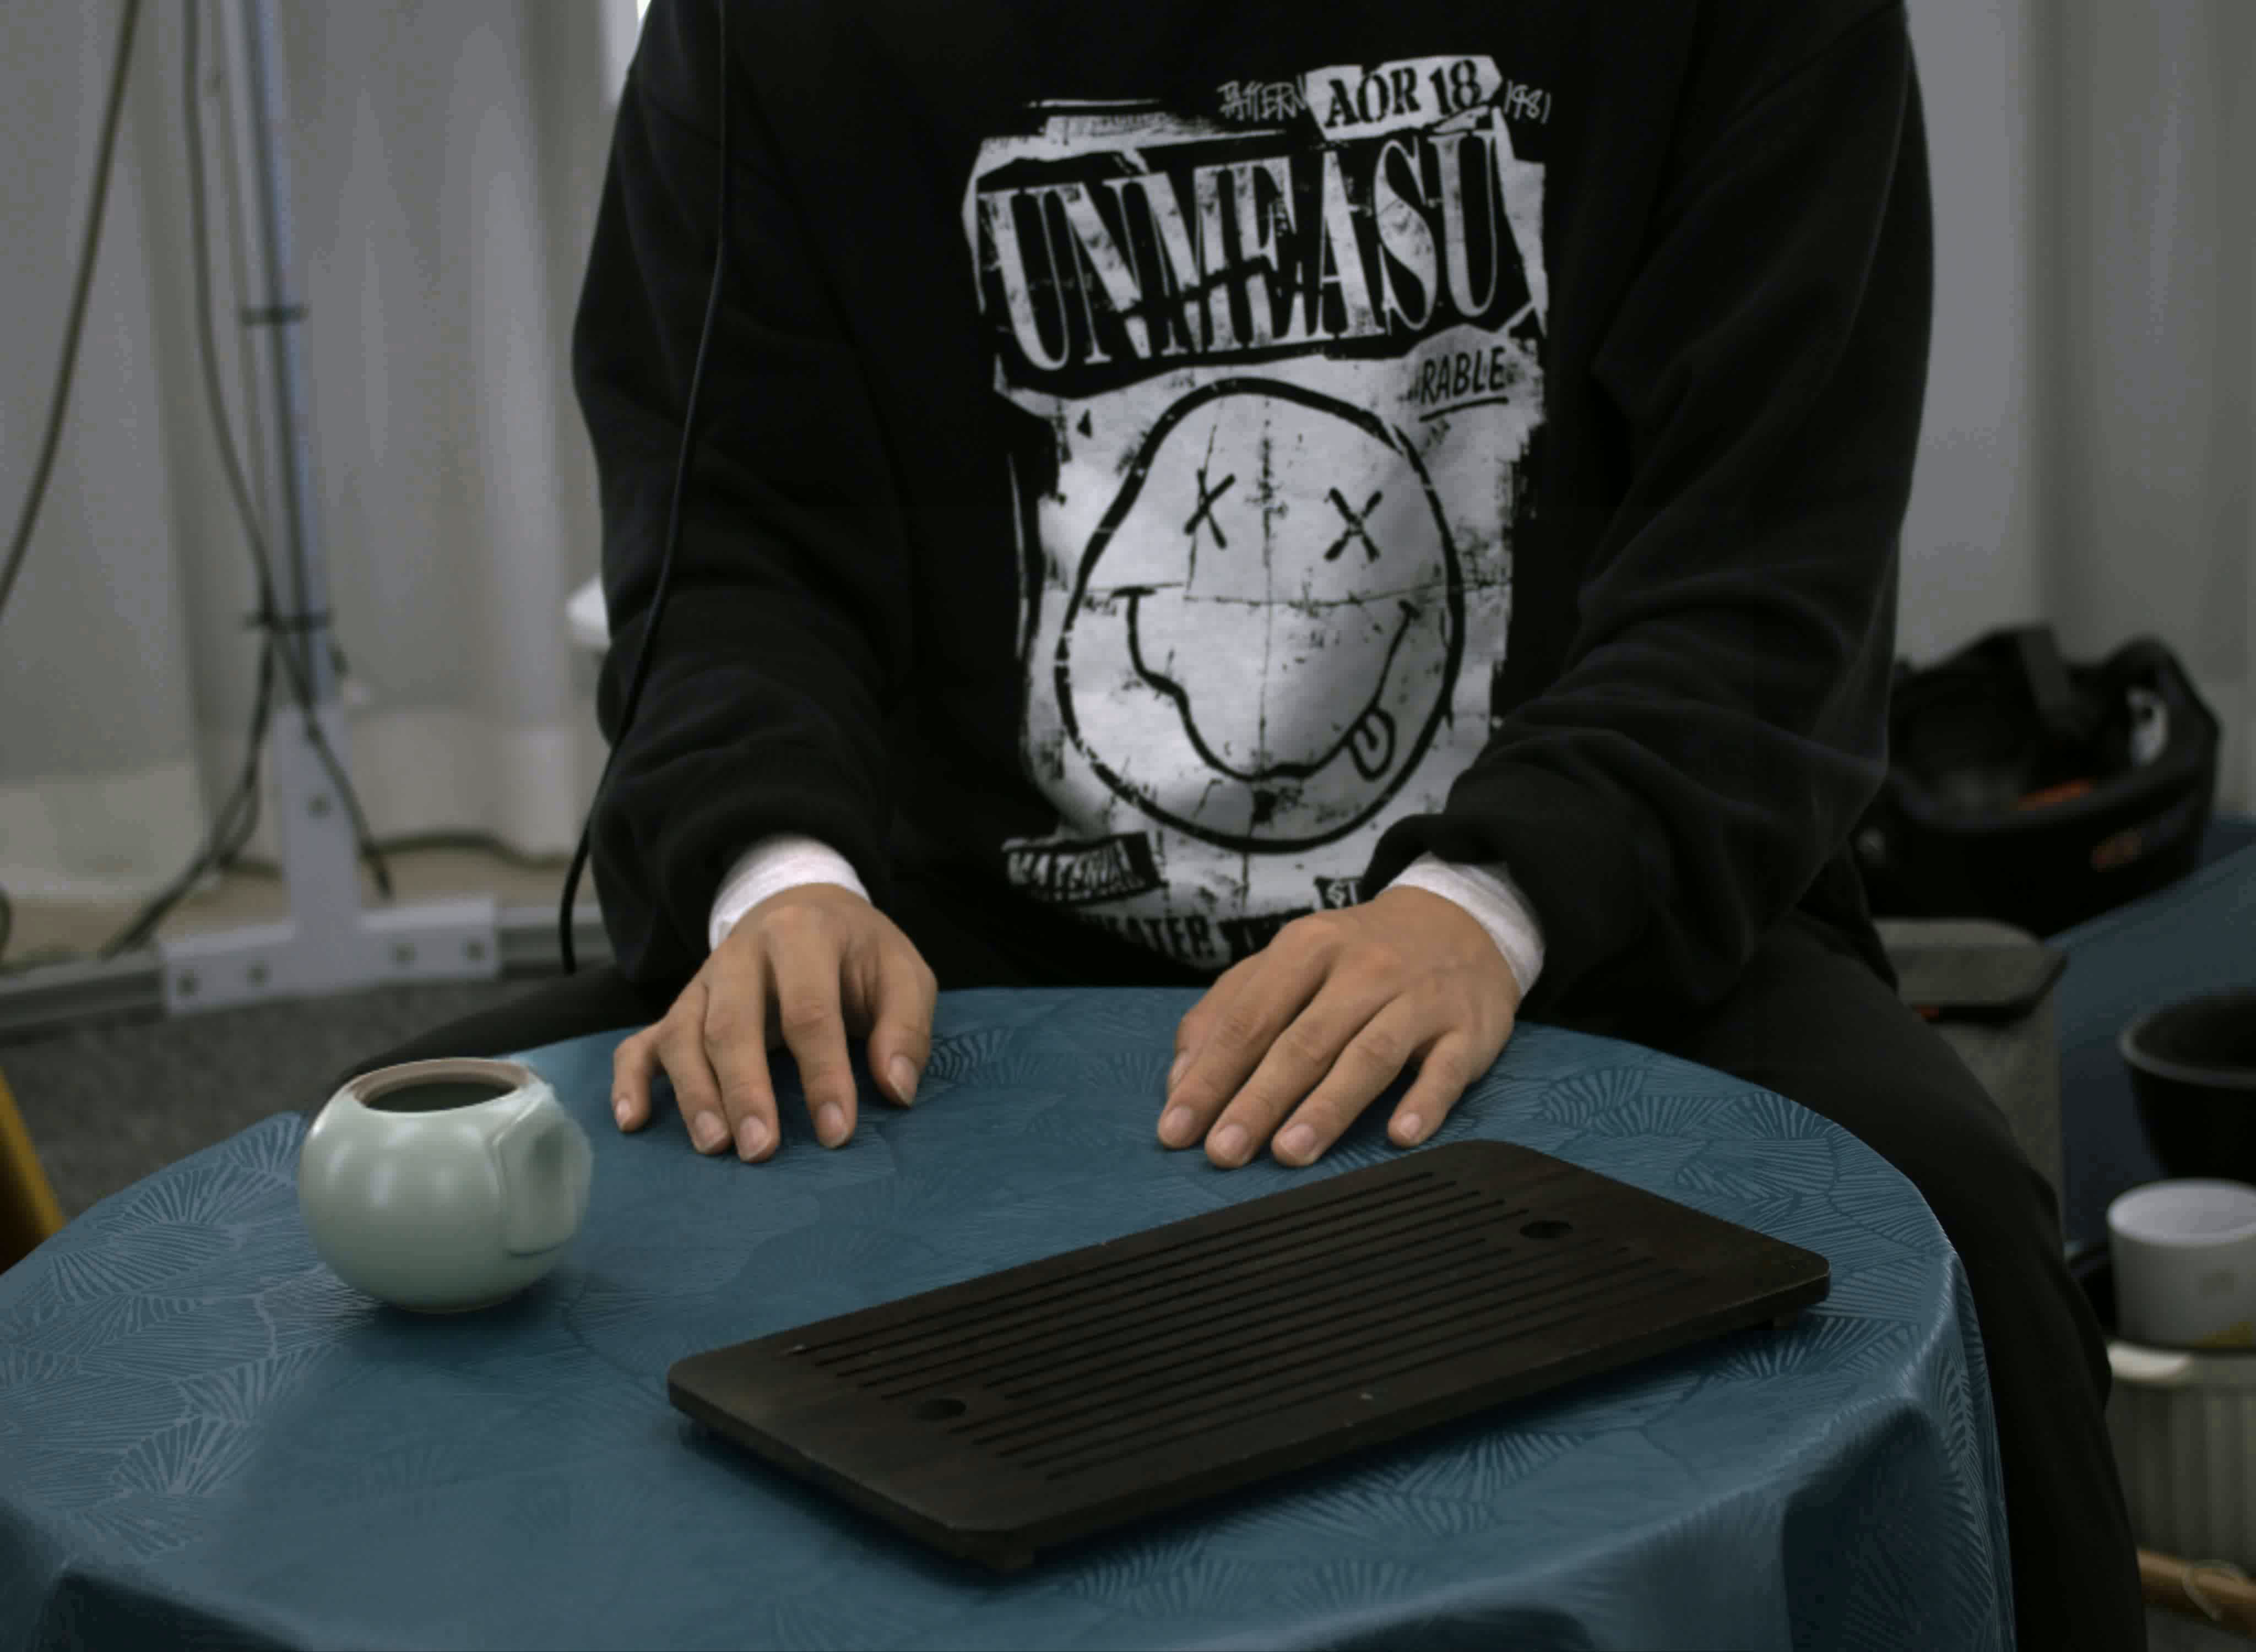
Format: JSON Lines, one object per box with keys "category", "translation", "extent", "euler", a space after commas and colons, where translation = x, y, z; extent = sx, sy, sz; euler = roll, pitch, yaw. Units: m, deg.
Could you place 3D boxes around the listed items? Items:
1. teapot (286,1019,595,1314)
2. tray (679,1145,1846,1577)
{"category": "teapot", "translation": [-0.205, 0.106, 1.647], "extent": [0.088, 0.074, 0.145], "euler": [-15, 21, -40]}
{"category": "tray", "translation": [0.040, 0.148, 1.547], "extent": [0.305, 0.018, 0.171], "euler": [-12, 17, -33]}
